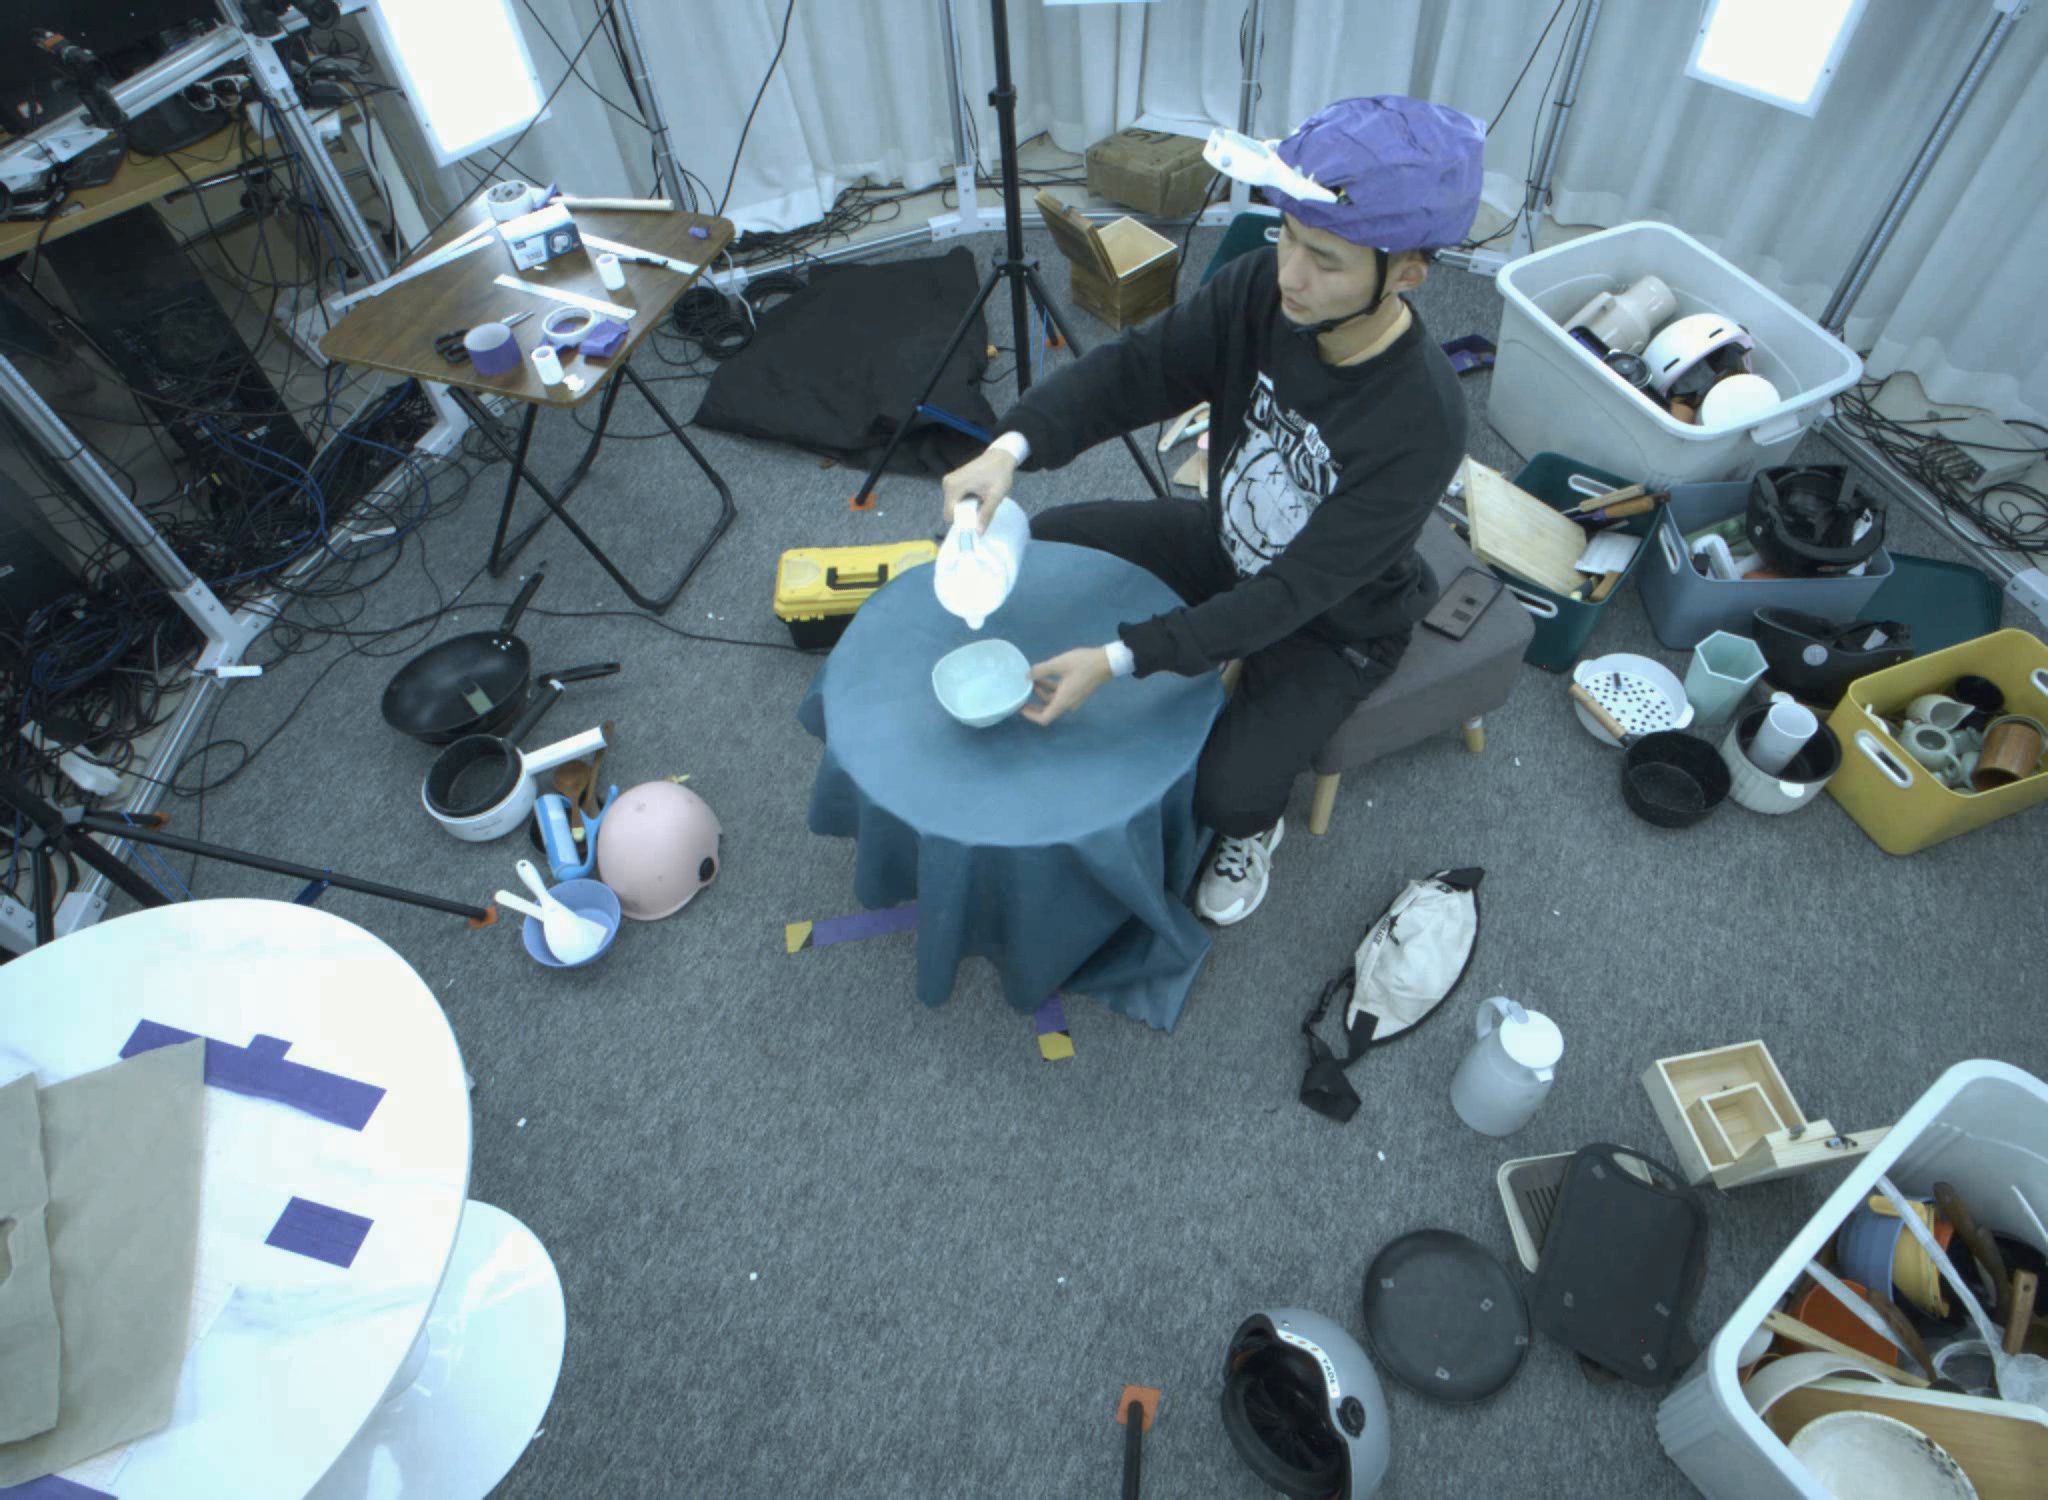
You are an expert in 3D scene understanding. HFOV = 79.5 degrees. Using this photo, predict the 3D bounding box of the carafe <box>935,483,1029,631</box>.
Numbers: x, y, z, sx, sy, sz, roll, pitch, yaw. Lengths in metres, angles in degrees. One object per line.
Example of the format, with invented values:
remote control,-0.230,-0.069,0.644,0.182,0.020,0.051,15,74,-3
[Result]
carafe,-0.065,-0.299,1.769,0.123,0.174,0.267,-3,28,9

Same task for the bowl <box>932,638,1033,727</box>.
bowl,-0.057,-0.088,1.779,0.151,0.059,0.150,-2,53,4
